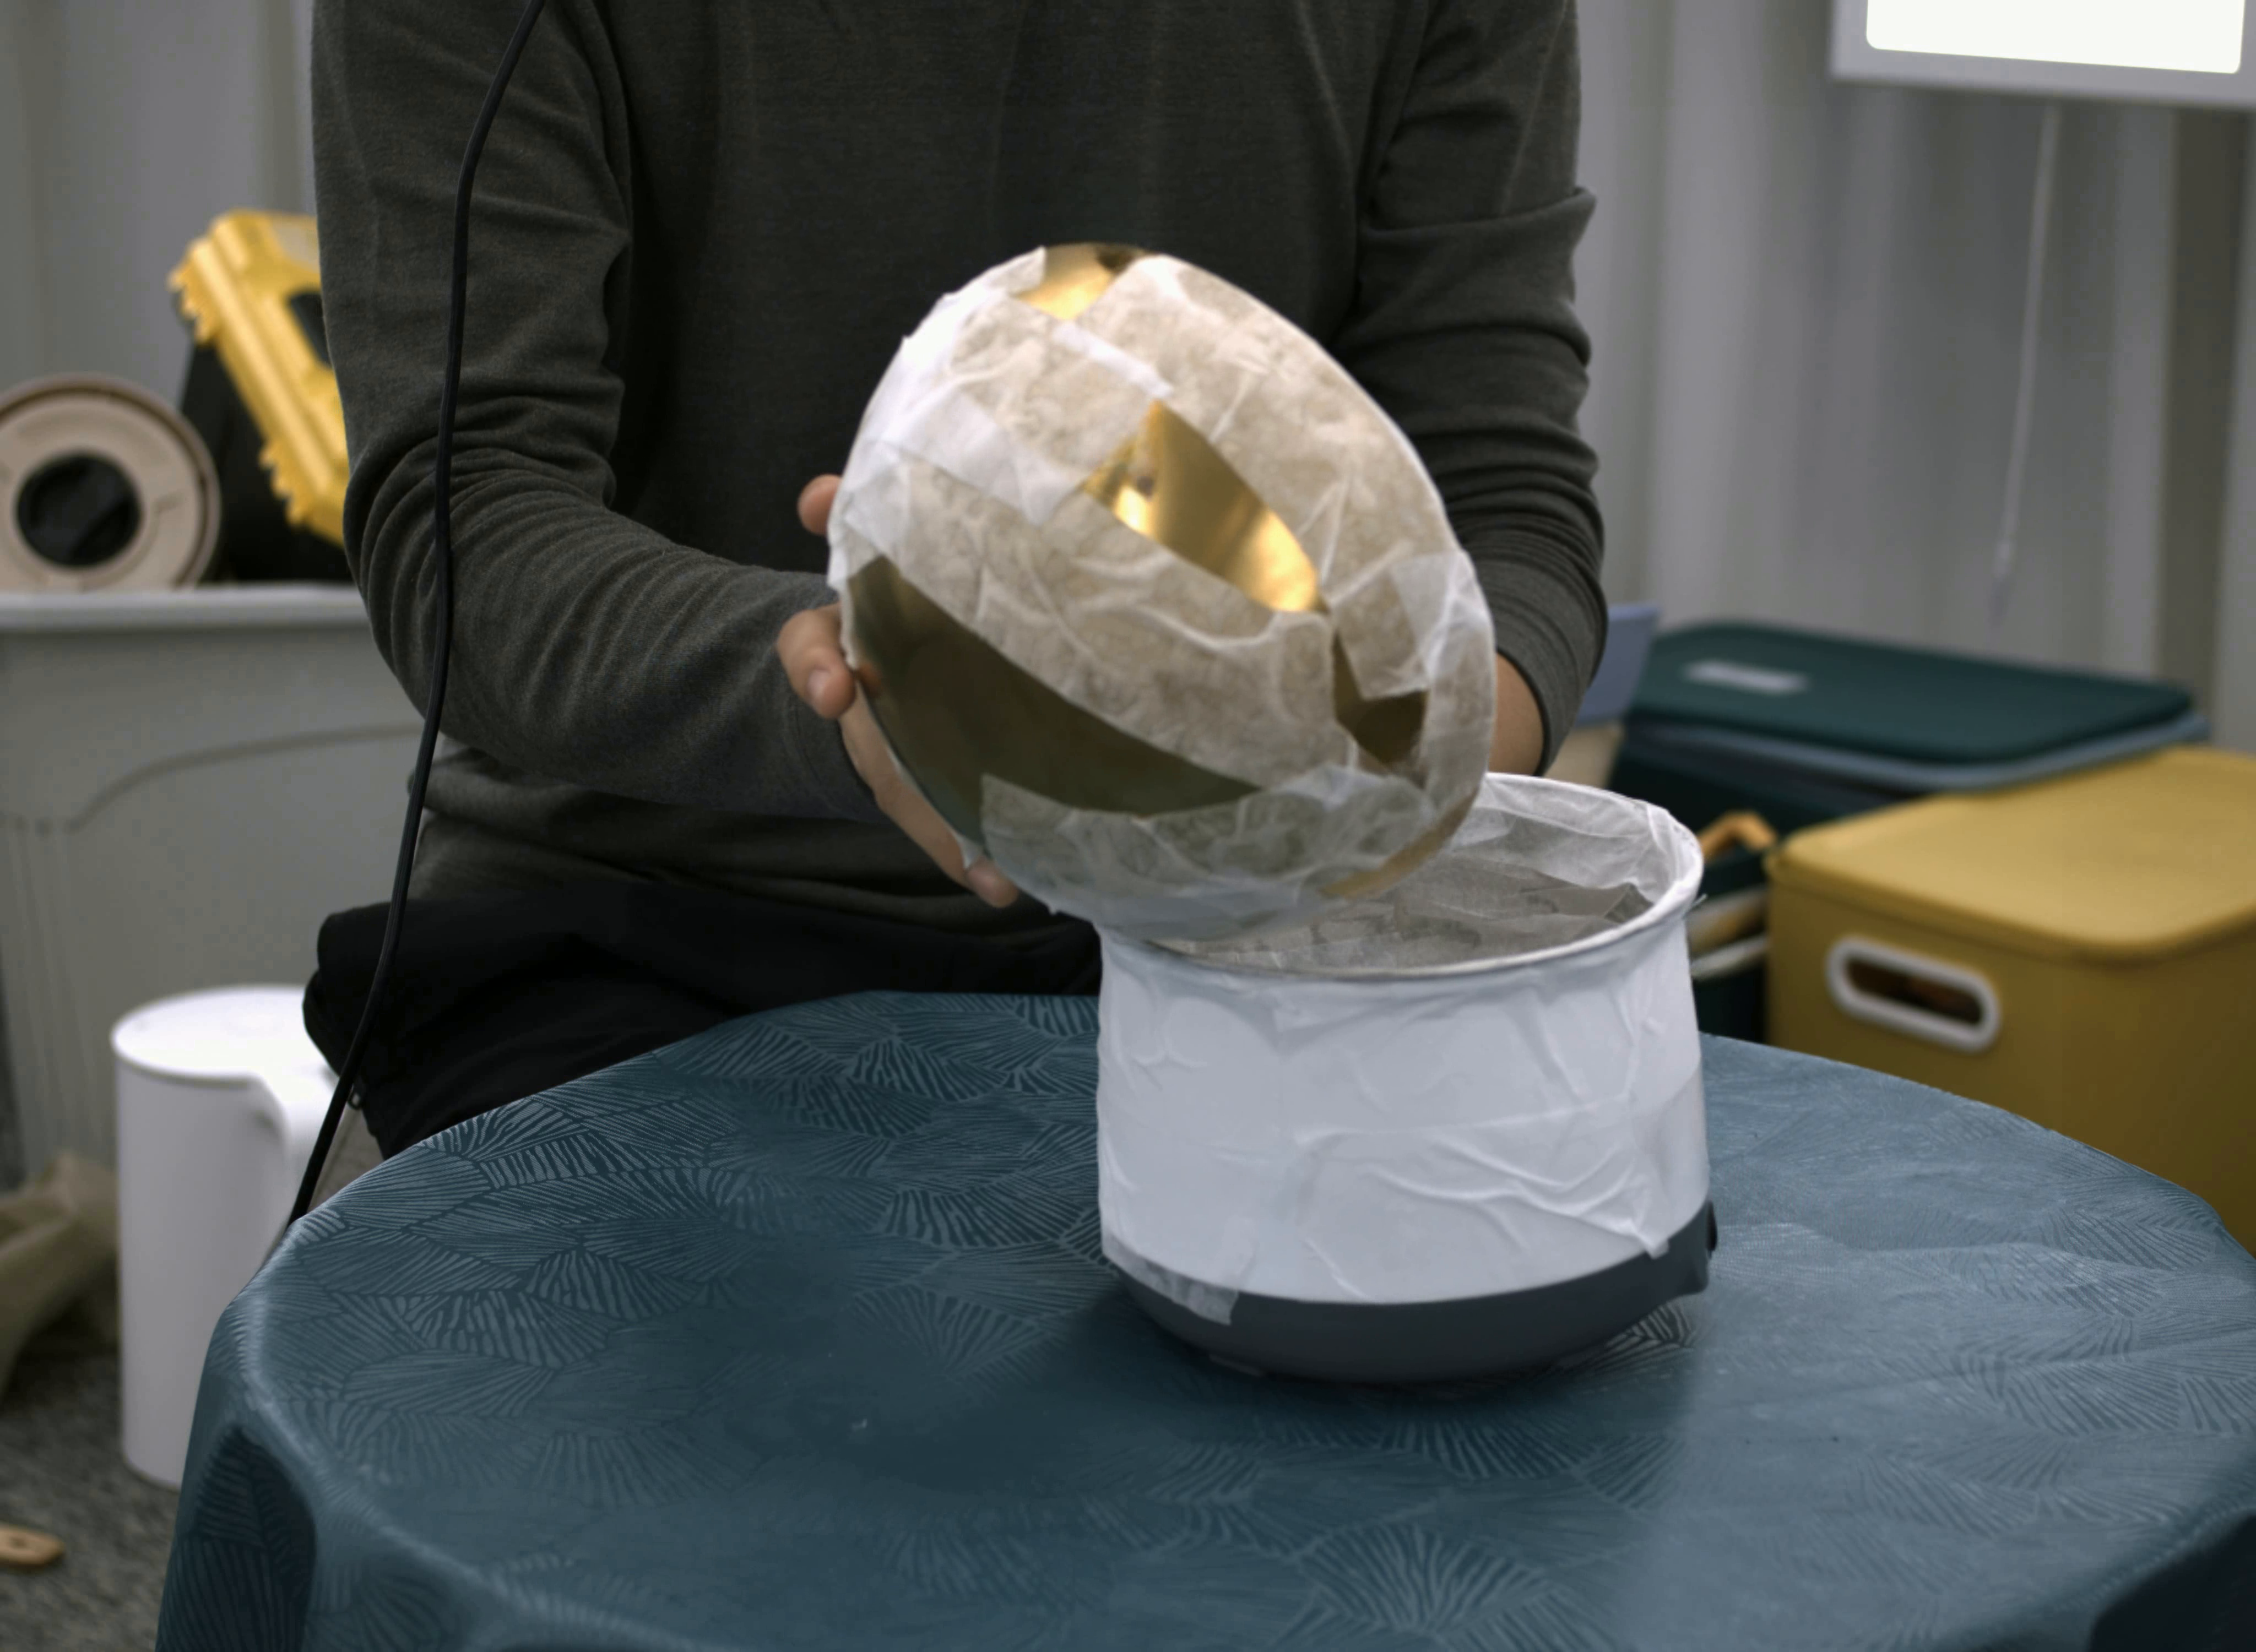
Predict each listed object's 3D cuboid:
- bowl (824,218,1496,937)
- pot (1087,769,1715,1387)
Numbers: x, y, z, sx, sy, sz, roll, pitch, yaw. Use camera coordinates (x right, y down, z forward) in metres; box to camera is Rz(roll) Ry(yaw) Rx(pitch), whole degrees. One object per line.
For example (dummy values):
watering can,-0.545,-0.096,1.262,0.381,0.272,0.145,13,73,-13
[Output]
bowl,-0.010,-0.047,1.393,0.212,0.217,0.094,14,41,39
pot,0.078,0.063,1.526,0.178,0.138,0.232,-2,18,2
